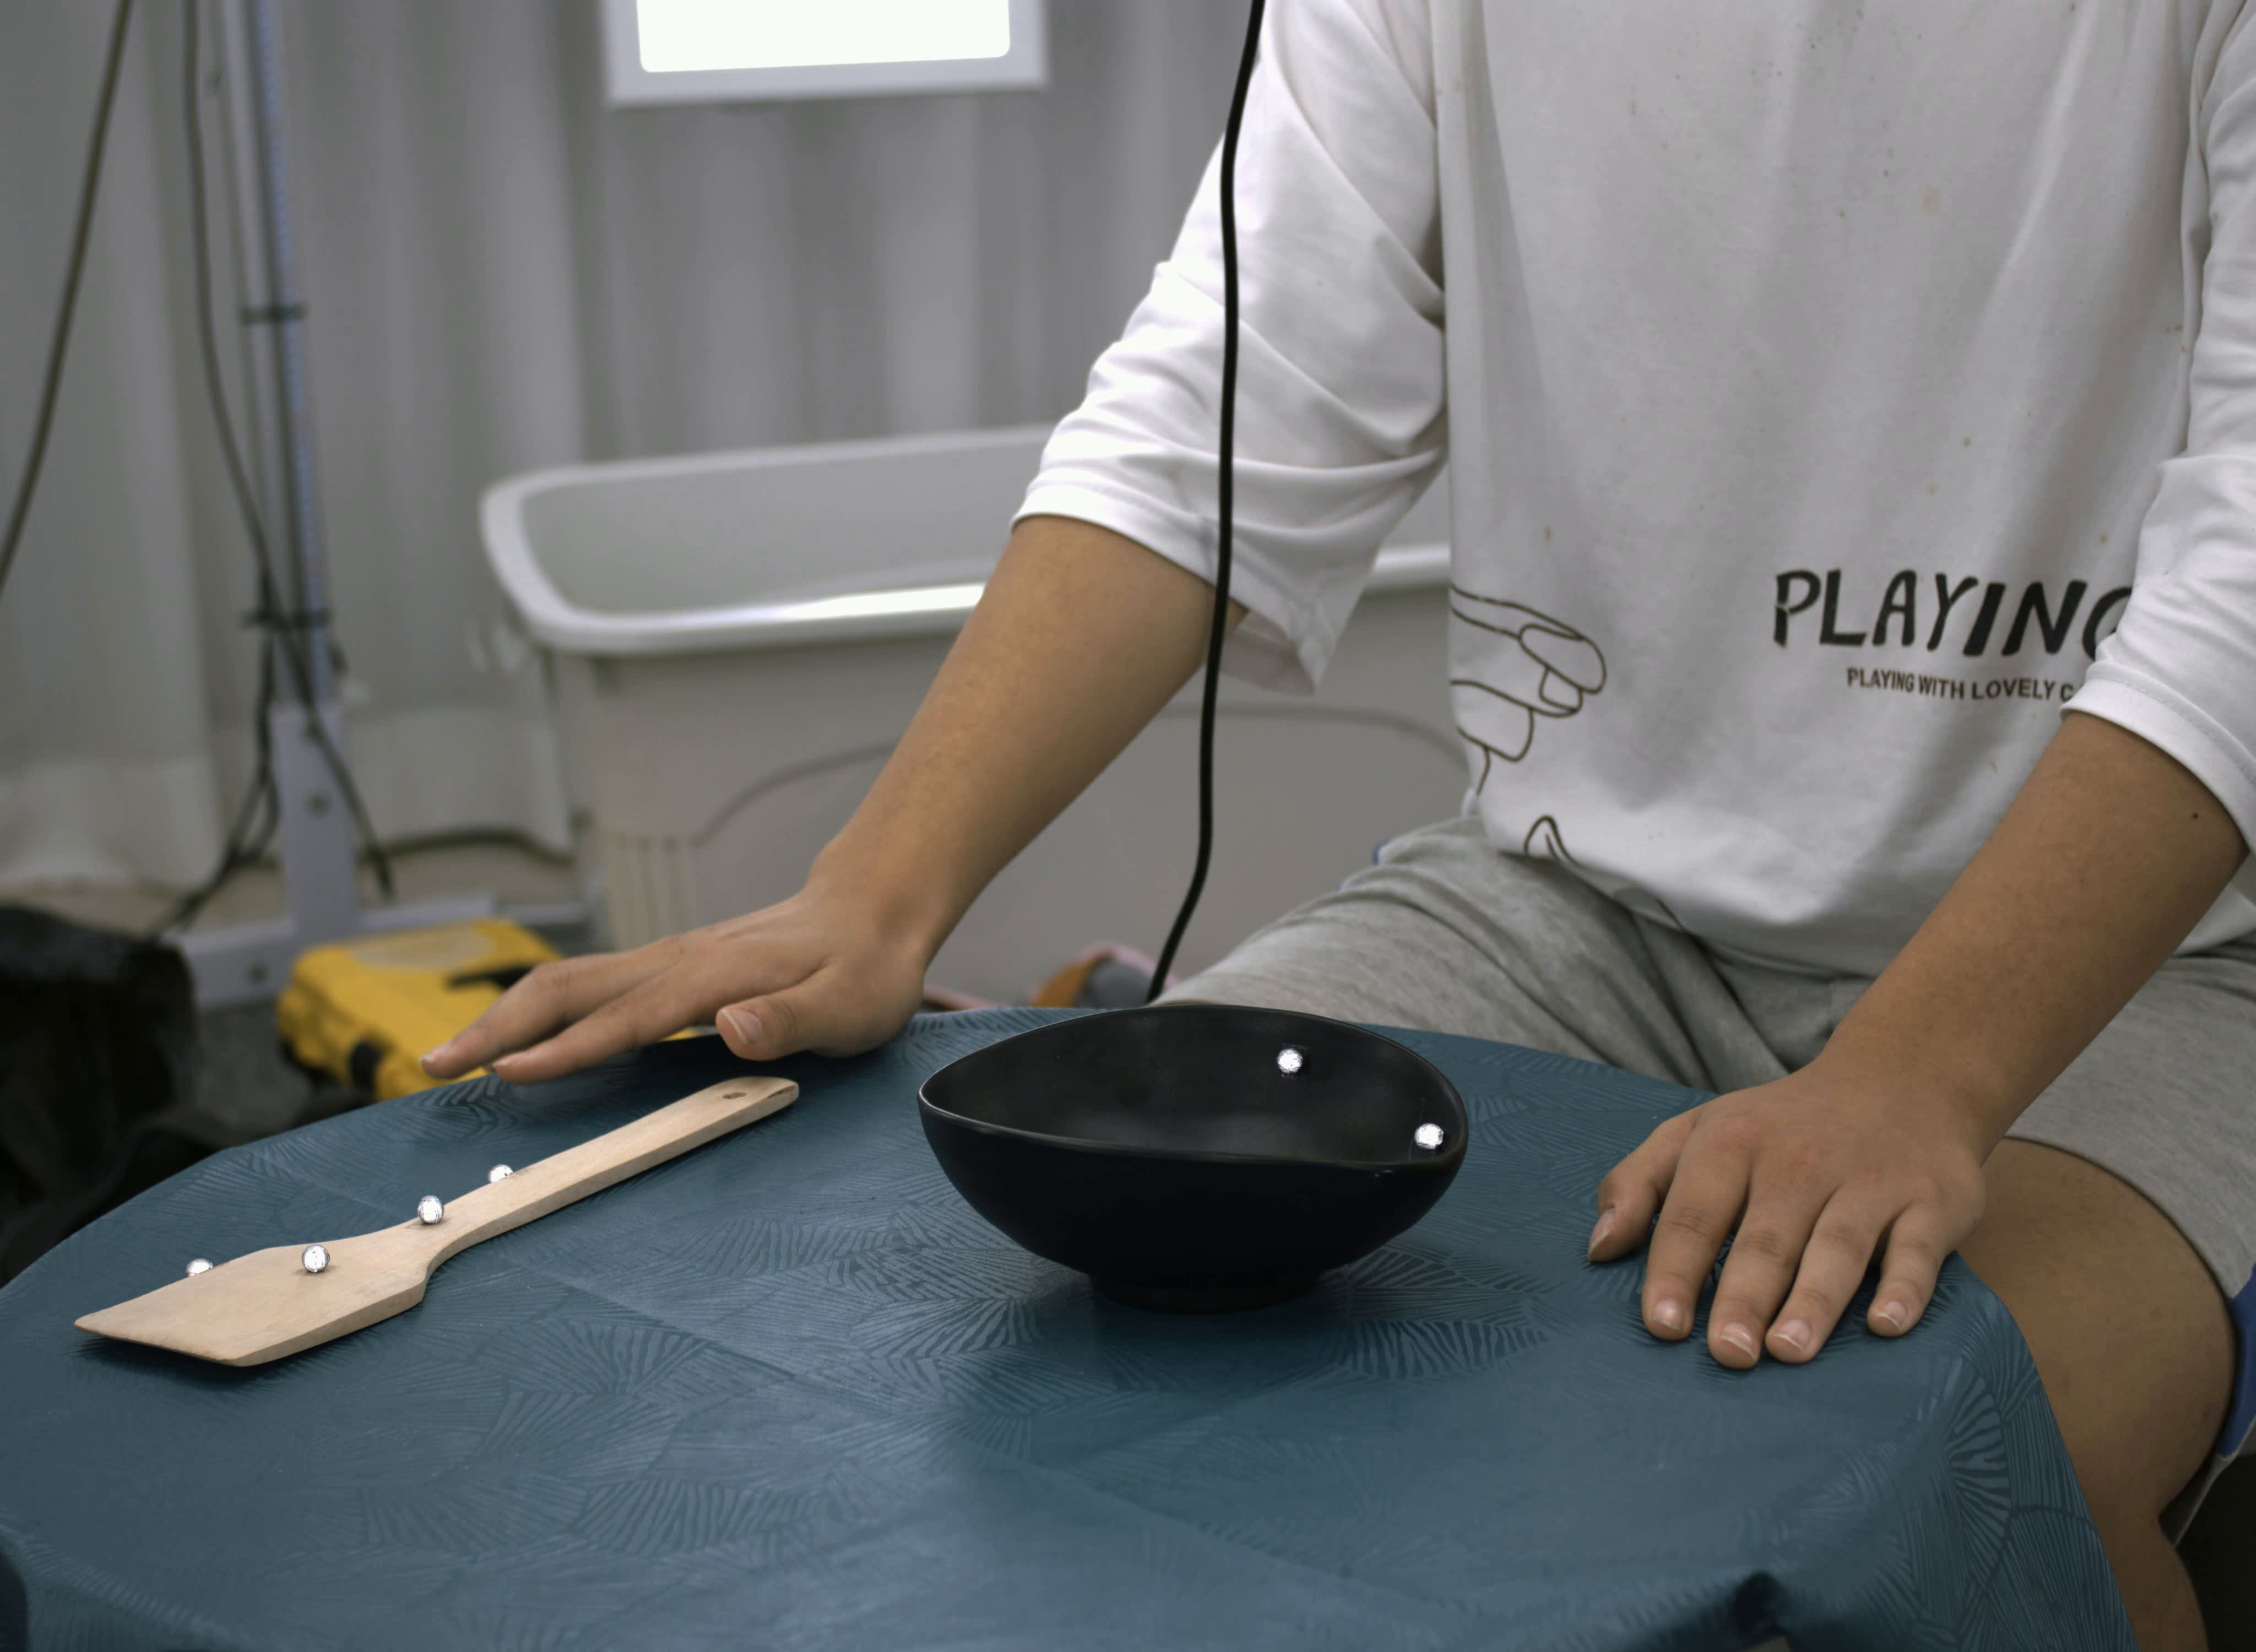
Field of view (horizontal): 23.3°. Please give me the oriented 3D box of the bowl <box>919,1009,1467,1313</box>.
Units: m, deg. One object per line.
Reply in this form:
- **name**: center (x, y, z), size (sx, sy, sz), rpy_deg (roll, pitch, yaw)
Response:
- **bowl**: center (0.020, 0.104, 1.632), size (0.170, 0.066, 0.138), rpy_deg (5, 16, 21)

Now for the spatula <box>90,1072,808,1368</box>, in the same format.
- **spatula**: center (-0.199, 0.120, 1.714), size (0.072, 0.010, 0.293), rpy_deg (6, 18, 35)
